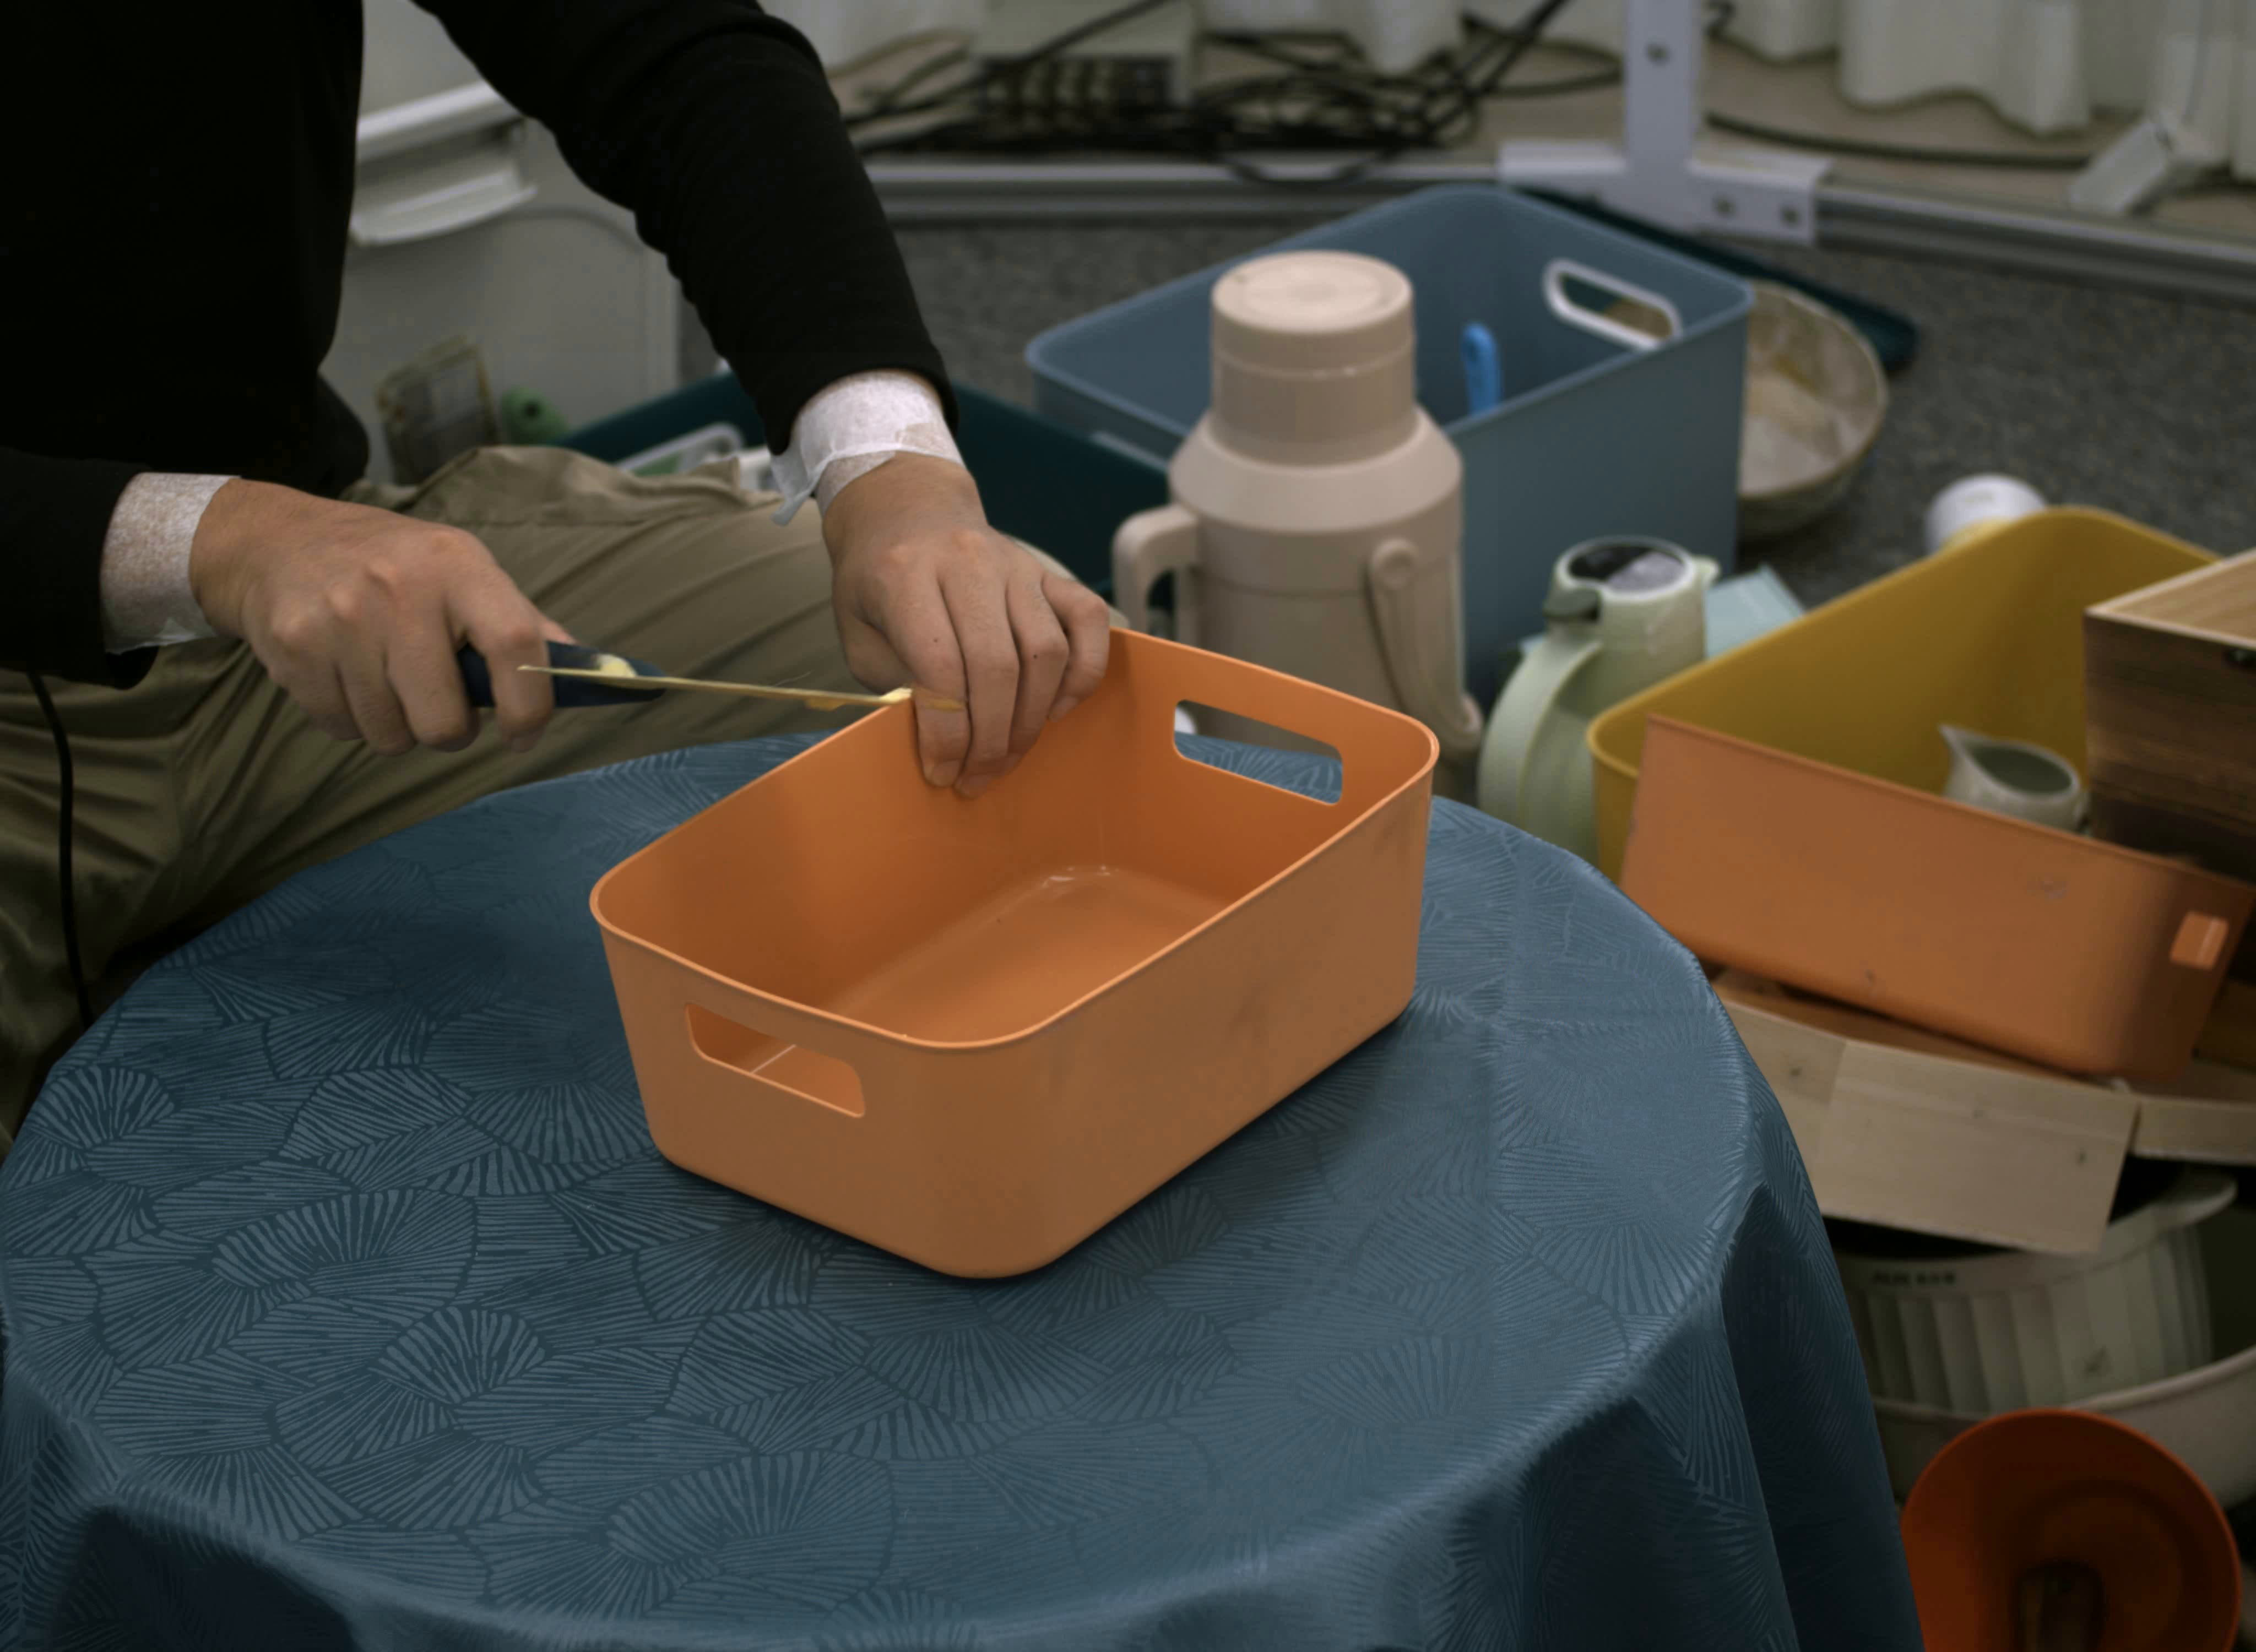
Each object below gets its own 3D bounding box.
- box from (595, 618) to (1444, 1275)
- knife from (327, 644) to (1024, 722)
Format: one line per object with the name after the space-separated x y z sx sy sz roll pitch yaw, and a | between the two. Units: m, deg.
-0.033 0.039 1.912 0.199 0.101 0.277 18 34 34 | box
-0.160 -0.048 1.905 0.287 0.027 0.081 2 -5 30 | knife
